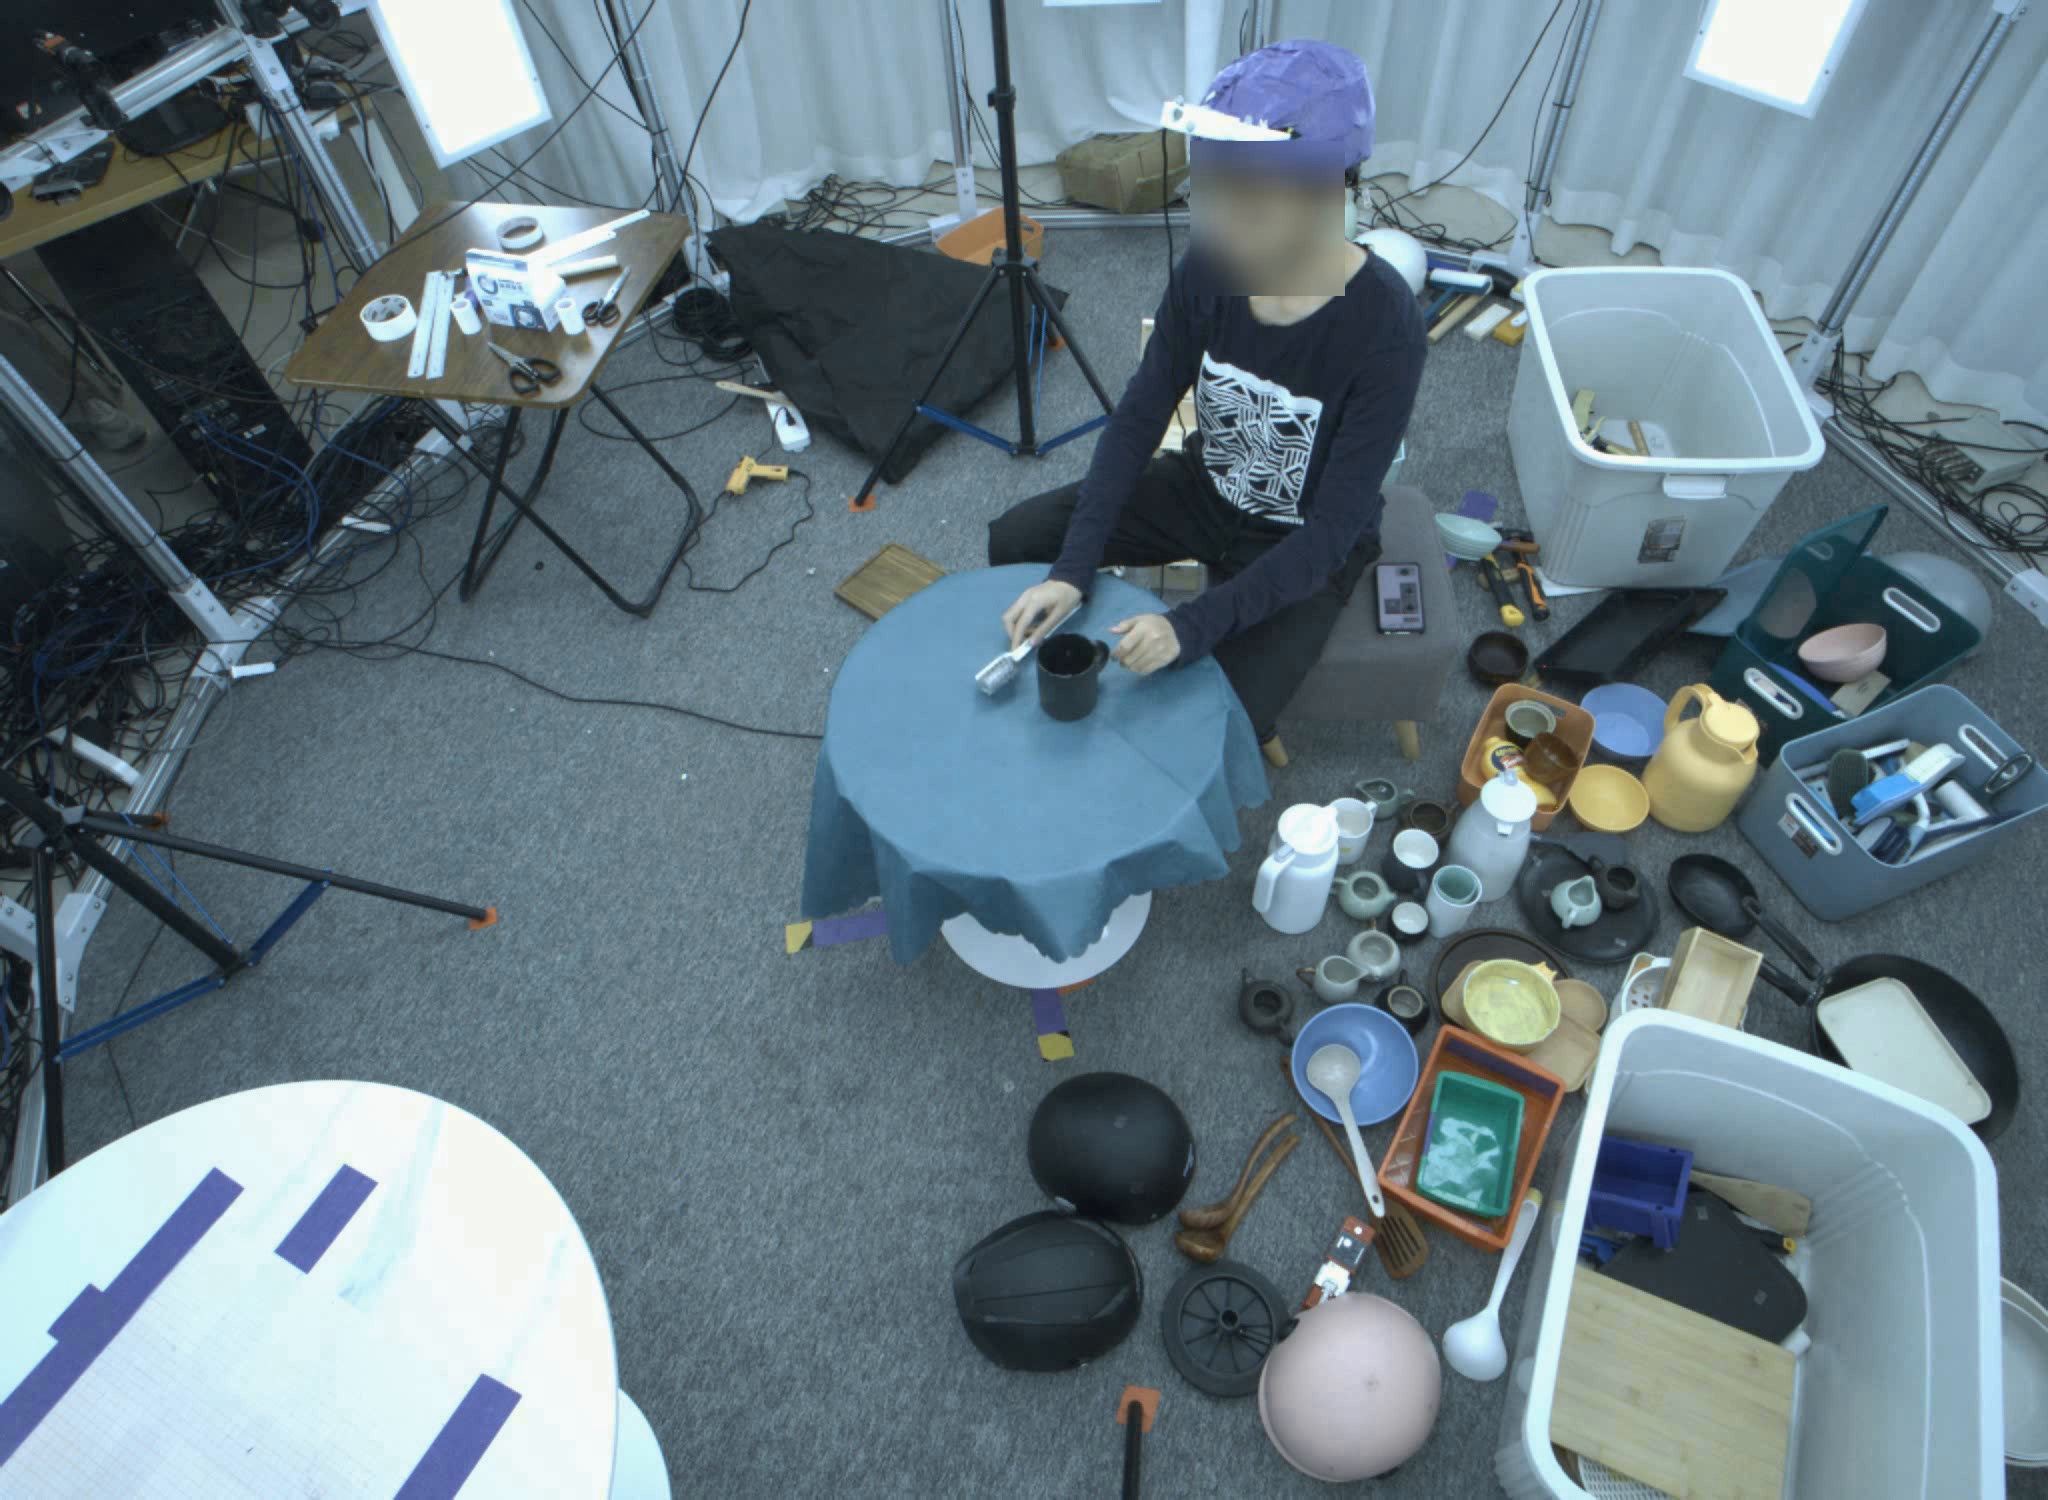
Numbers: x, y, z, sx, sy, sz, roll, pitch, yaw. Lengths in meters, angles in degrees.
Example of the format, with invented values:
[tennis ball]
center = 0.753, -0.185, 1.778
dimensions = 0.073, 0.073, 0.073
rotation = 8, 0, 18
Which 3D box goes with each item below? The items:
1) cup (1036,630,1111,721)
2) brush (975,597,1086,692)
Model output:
[cup]
center = 0.077, -0.117, 1.796
dimensions = 0.124, 0.106, 0.087
rotation = -33, 57, -21
[brush]
center = 0.018, -0.166, 1.867
dimensions = 0.245, 0.049, 0.034
rotation = -40, 97, -26
